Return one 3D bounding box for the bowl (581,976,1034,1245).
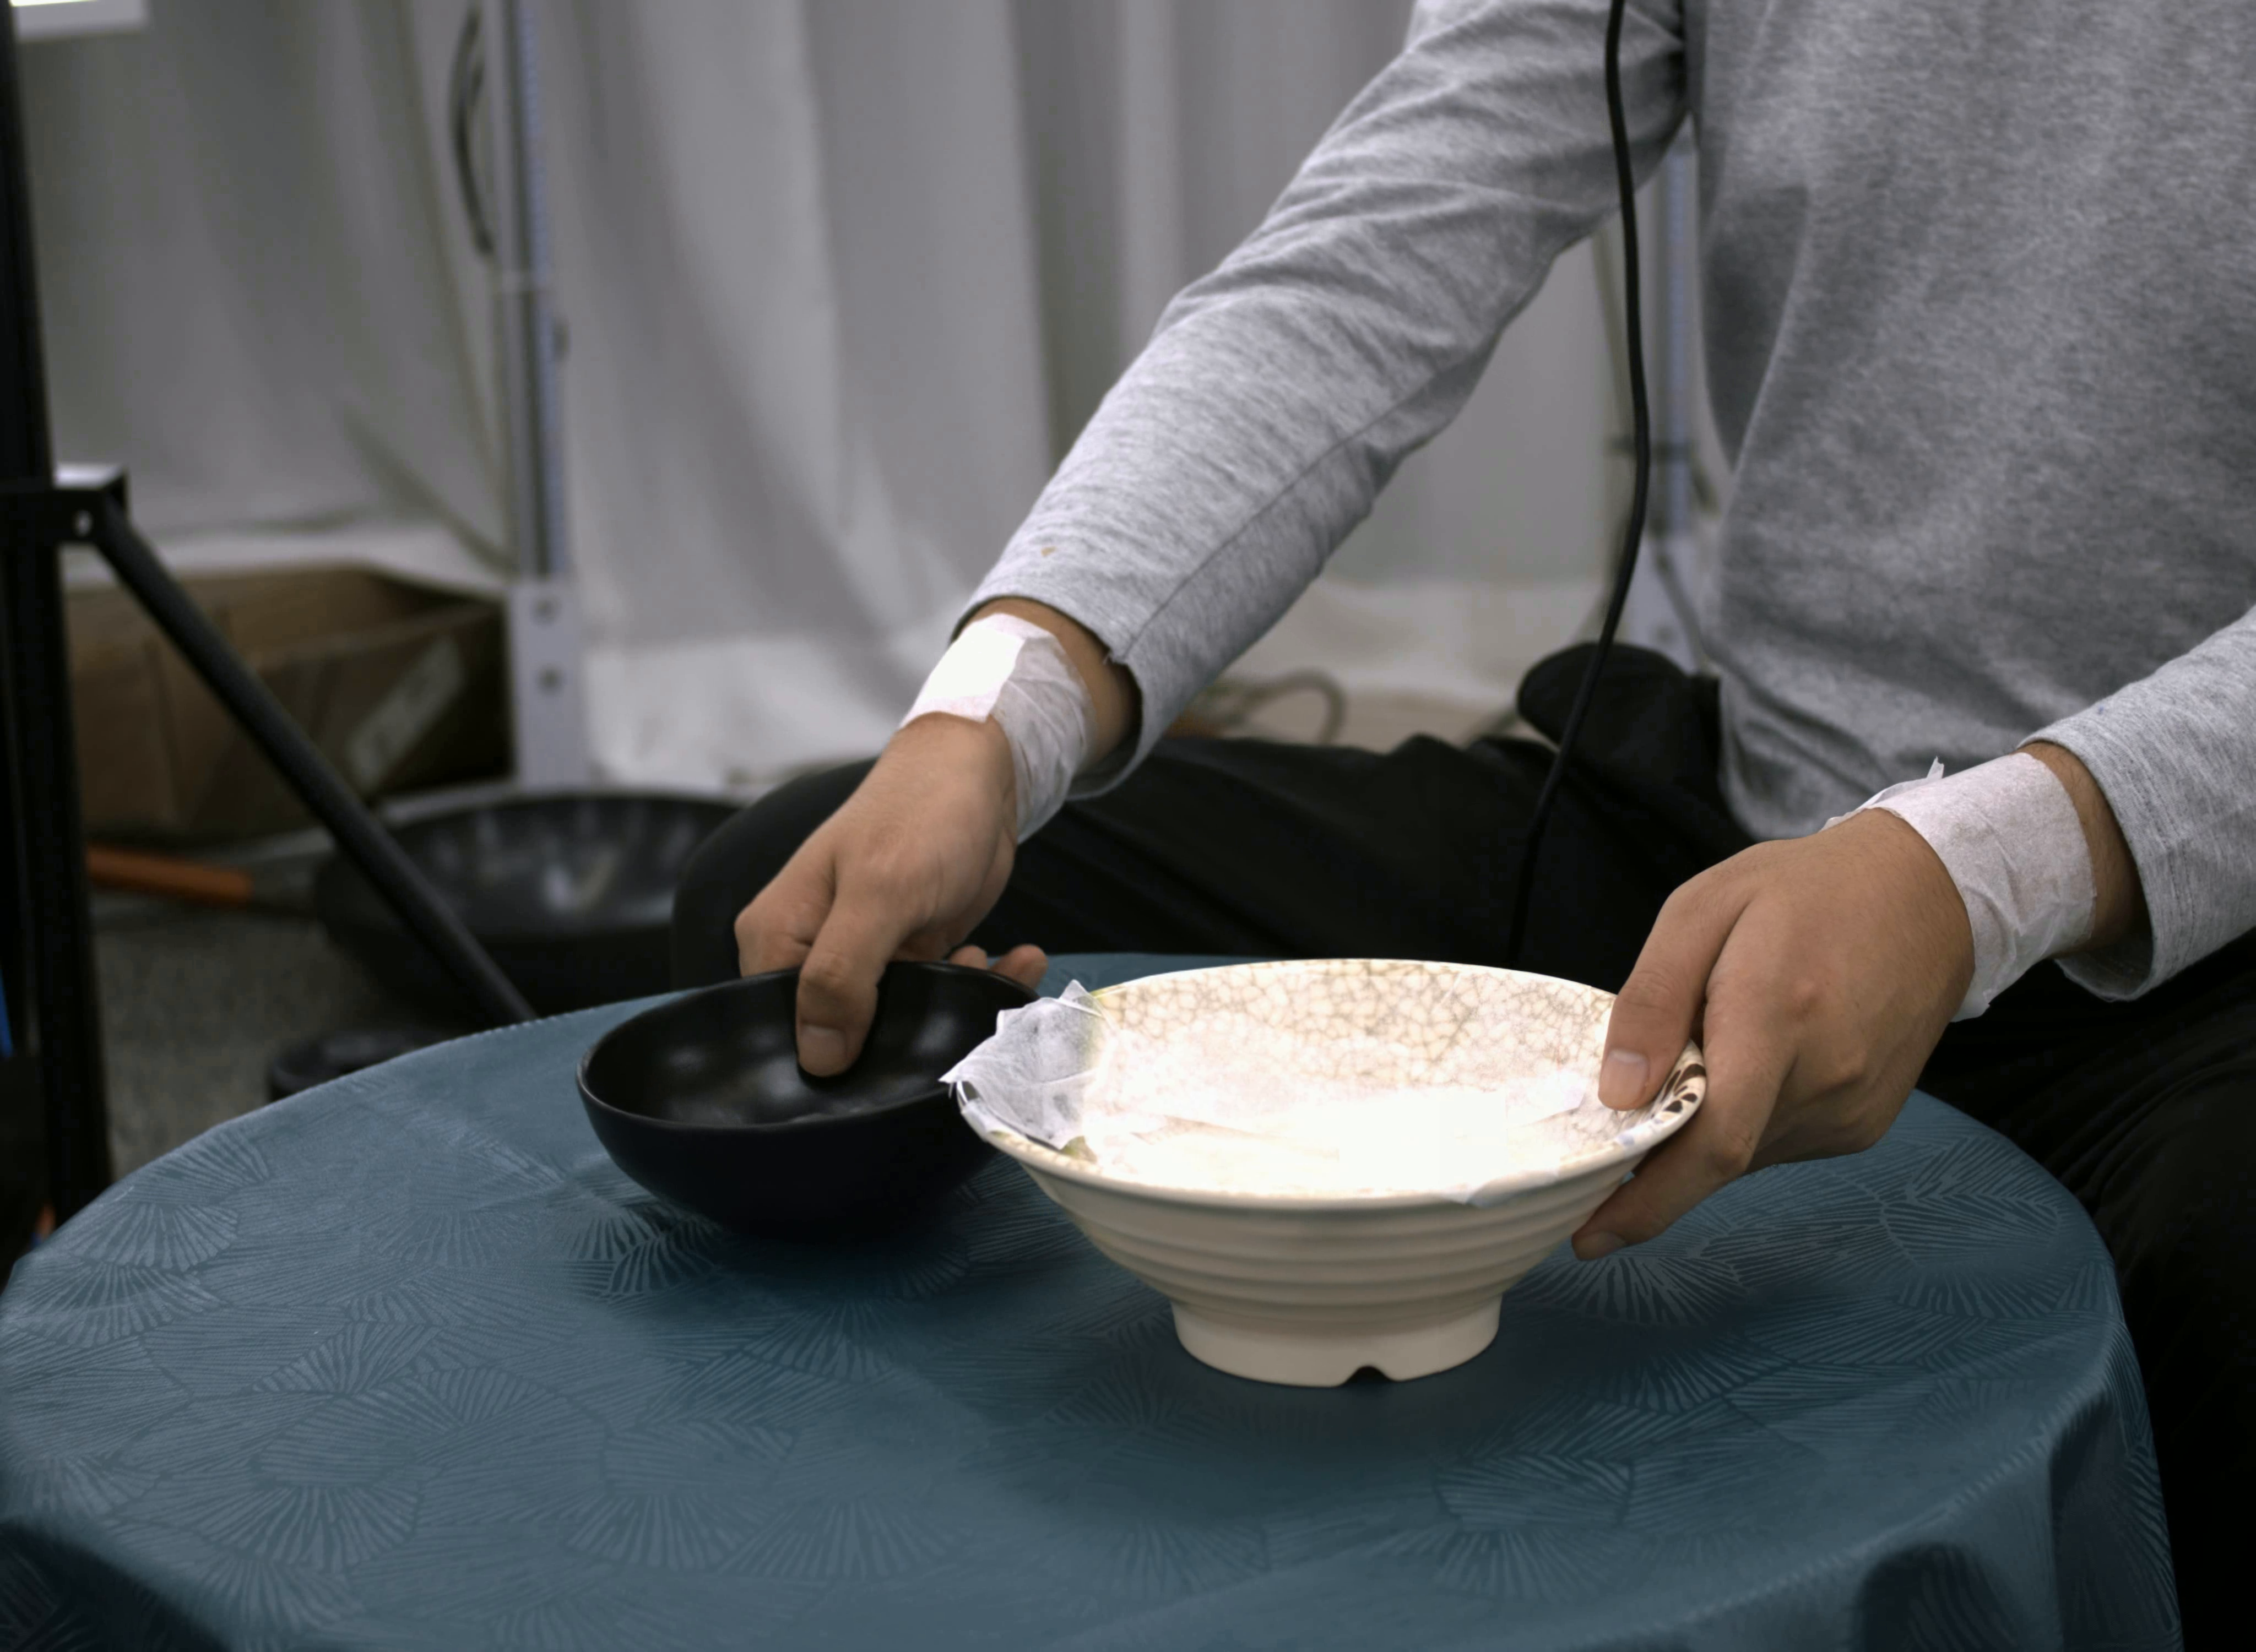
[{"bbox_3d":[-0.088,0.088,1.550,0.139,0.050,0.141,-4,15,0],"label":"bowl"}]

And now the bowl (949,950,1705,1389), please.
[{"bbox_3d":[0.054,0.101,1.436,0.203,0.078,0.205,-2,16,-1],"label":"bowl"}]
